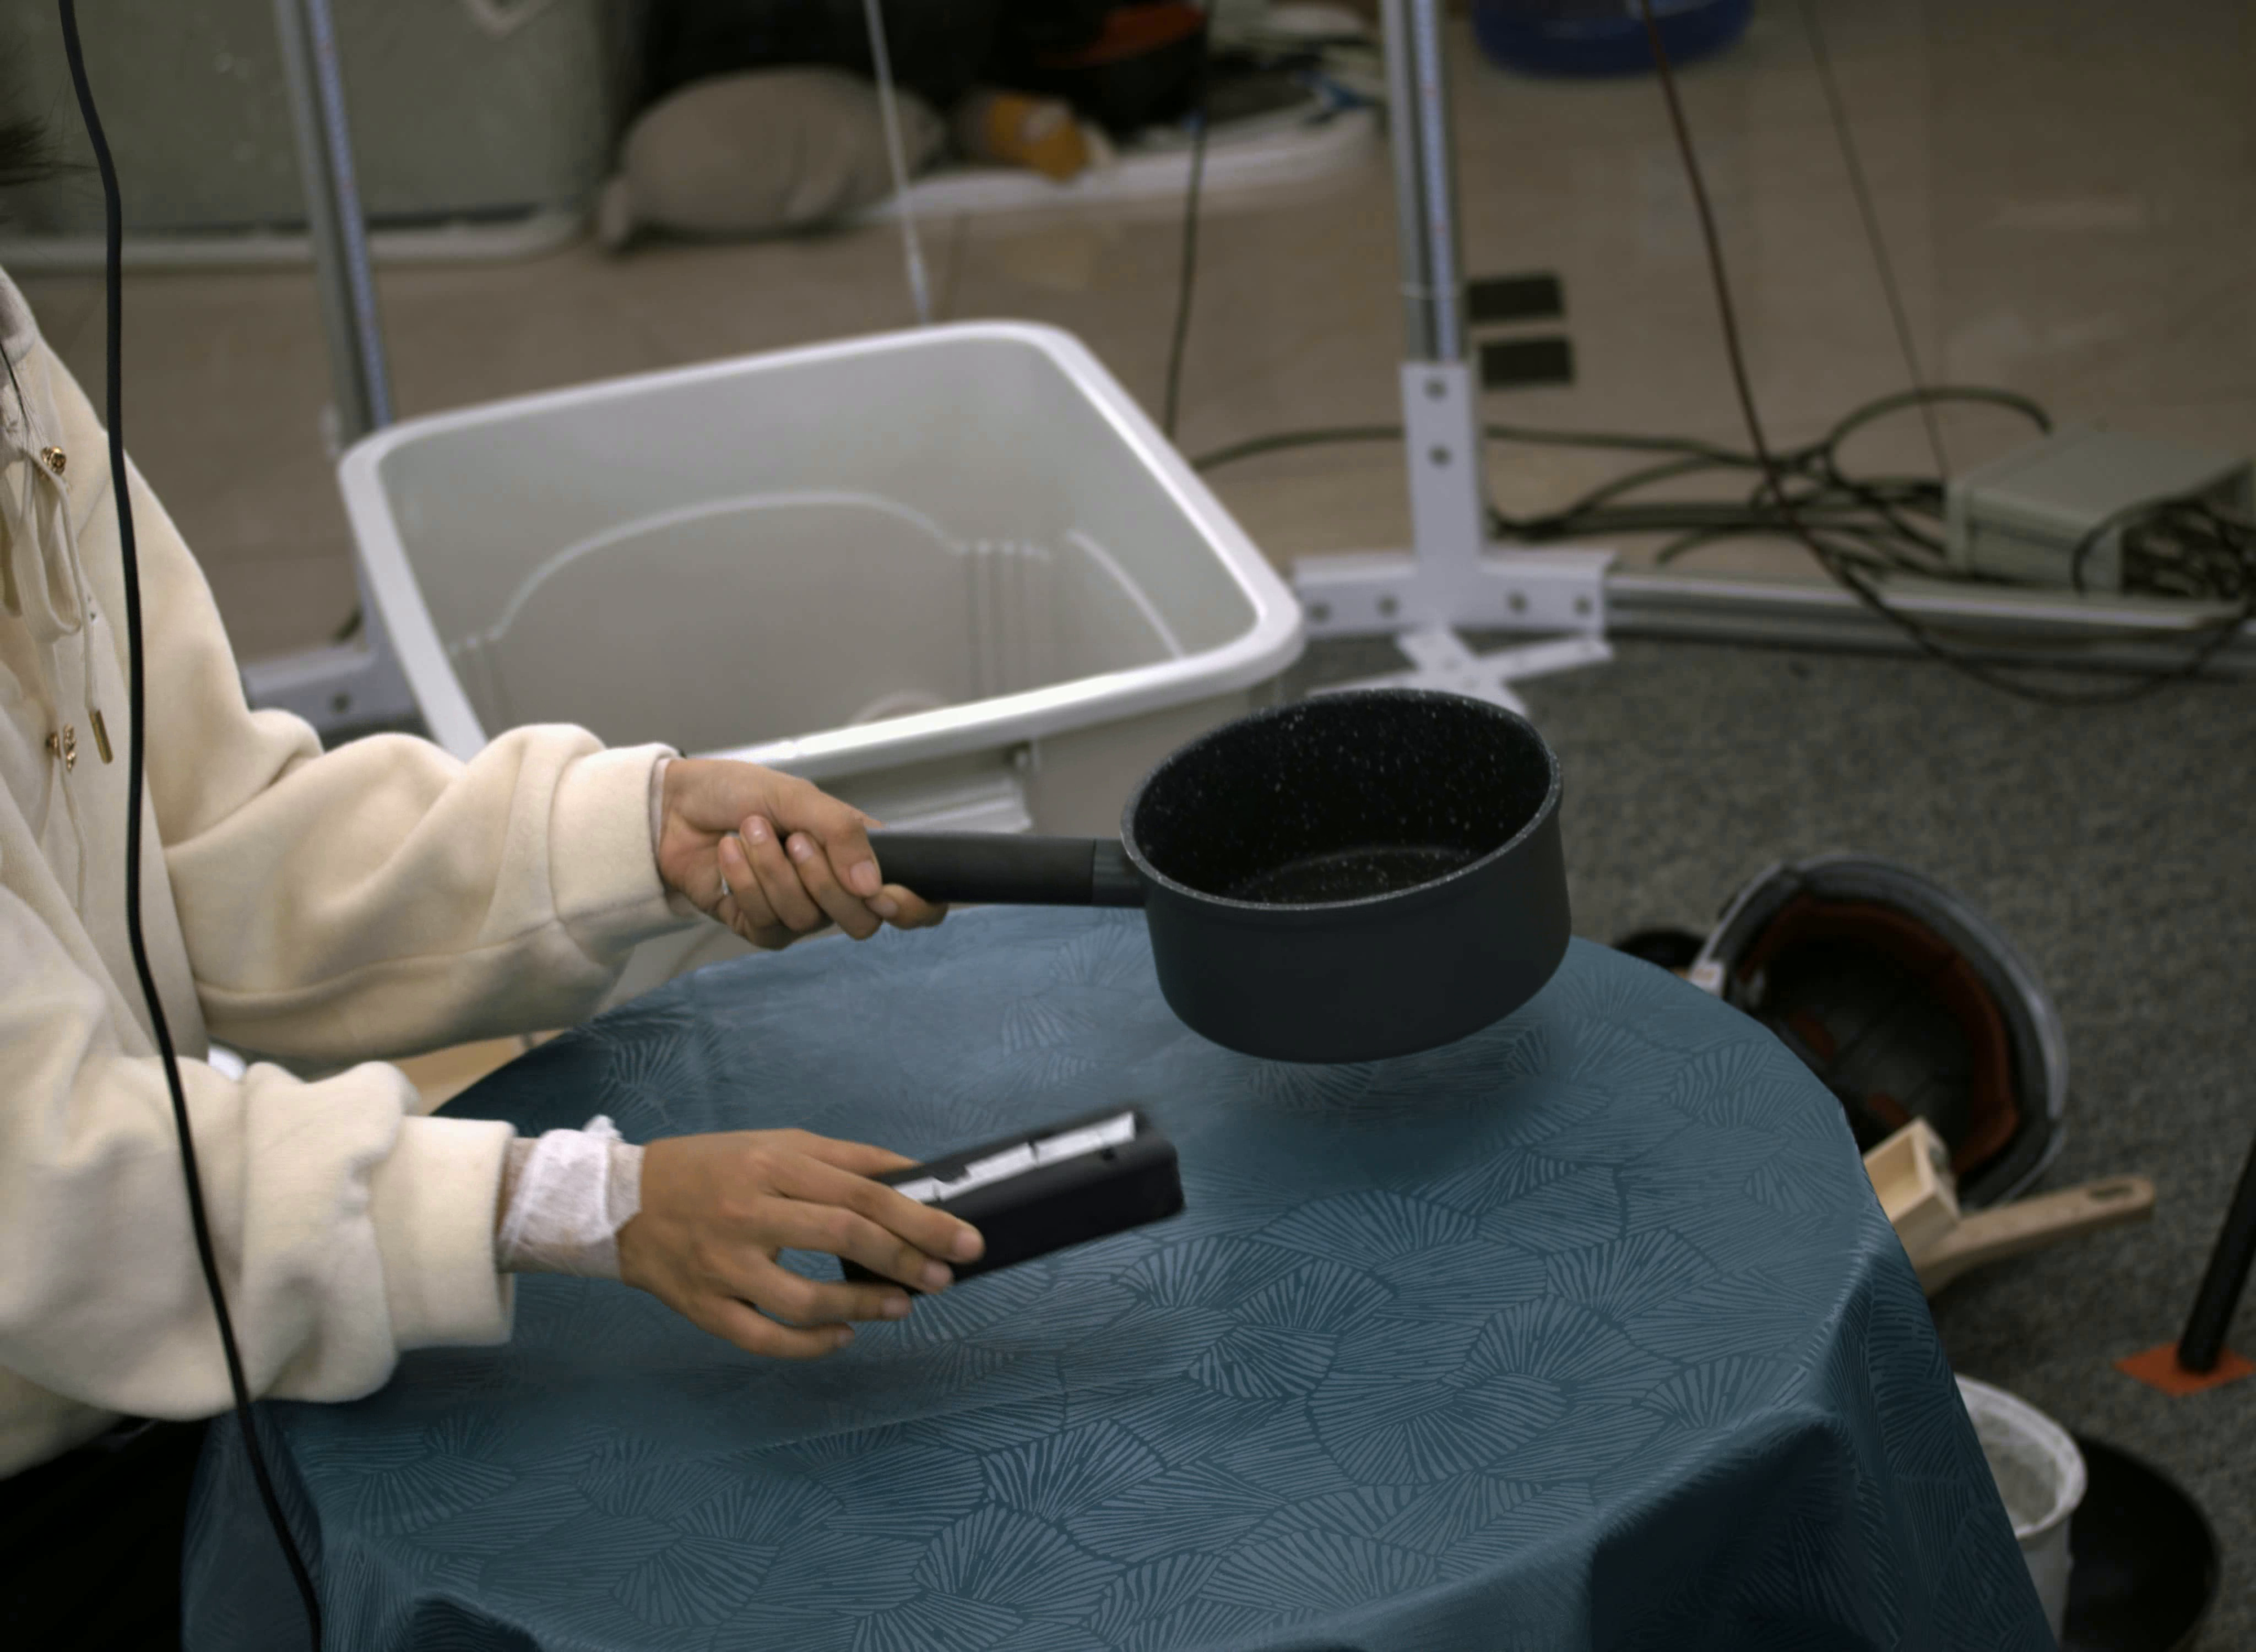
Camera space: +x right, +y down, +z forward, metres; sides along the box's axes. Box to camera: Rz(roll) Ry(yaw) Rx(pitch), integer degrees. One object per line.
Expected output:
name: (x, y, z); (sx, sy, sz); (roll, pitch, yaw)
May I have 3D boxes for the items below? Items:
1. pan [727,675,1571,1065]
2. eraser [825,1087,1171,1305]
pan: (0.009, 0.022, 2.203); (0.328, 0.088, 0.169); (-3, 31, 8)
eraser: (-0.046, 0.131, 2.028); (0.125, 0.031, 0.053); (-18, 23, 5)
